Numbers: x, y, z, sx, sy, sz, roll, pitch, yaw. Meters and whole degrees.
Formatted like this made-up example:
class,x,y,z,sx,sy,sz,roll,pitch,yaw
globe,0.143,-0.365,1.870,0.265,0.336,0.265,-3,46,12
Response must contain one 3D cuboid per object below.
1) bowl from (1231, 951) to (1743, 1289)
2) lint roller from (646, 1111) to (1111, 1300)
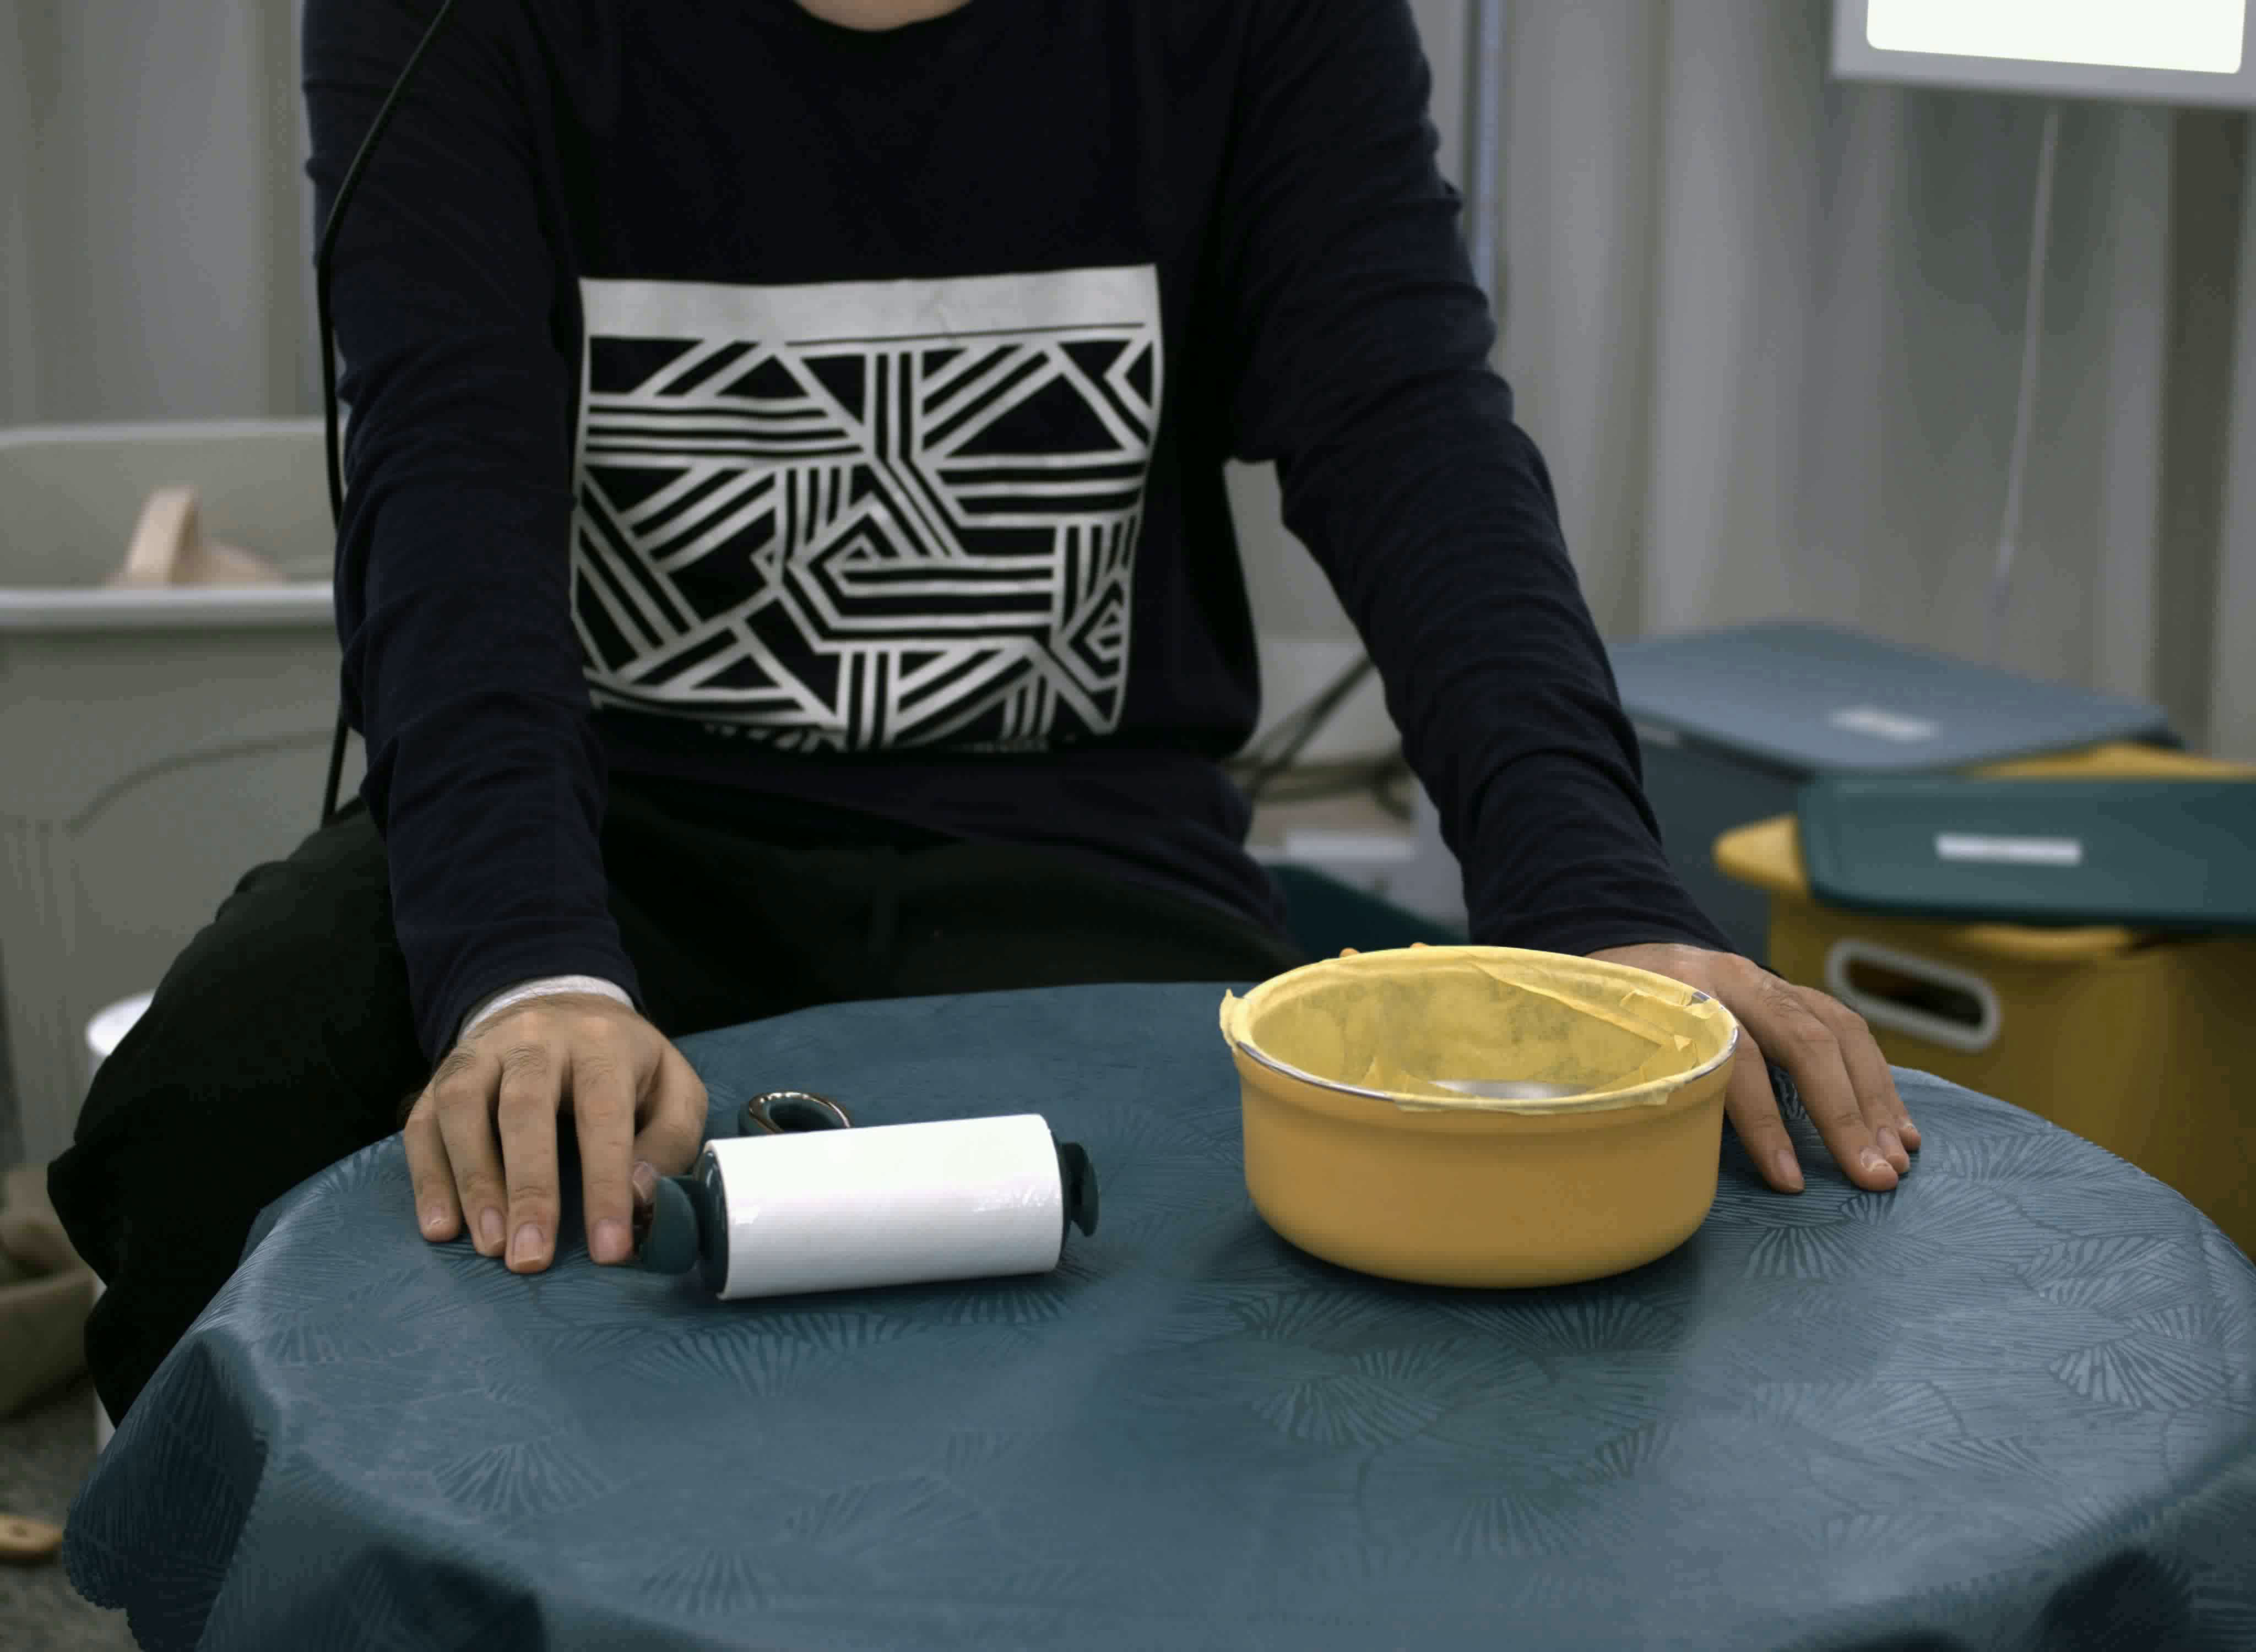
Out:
class,x,y,z,sx,sy,sz,roll,pitch,yaw
bowl,0.104,0.087,1.596,0.153,0.075,0.177,-7,17,-20
lint roller,-0.090,0.099,1.600,0.134,0.048,0.178,-4,12,-15
